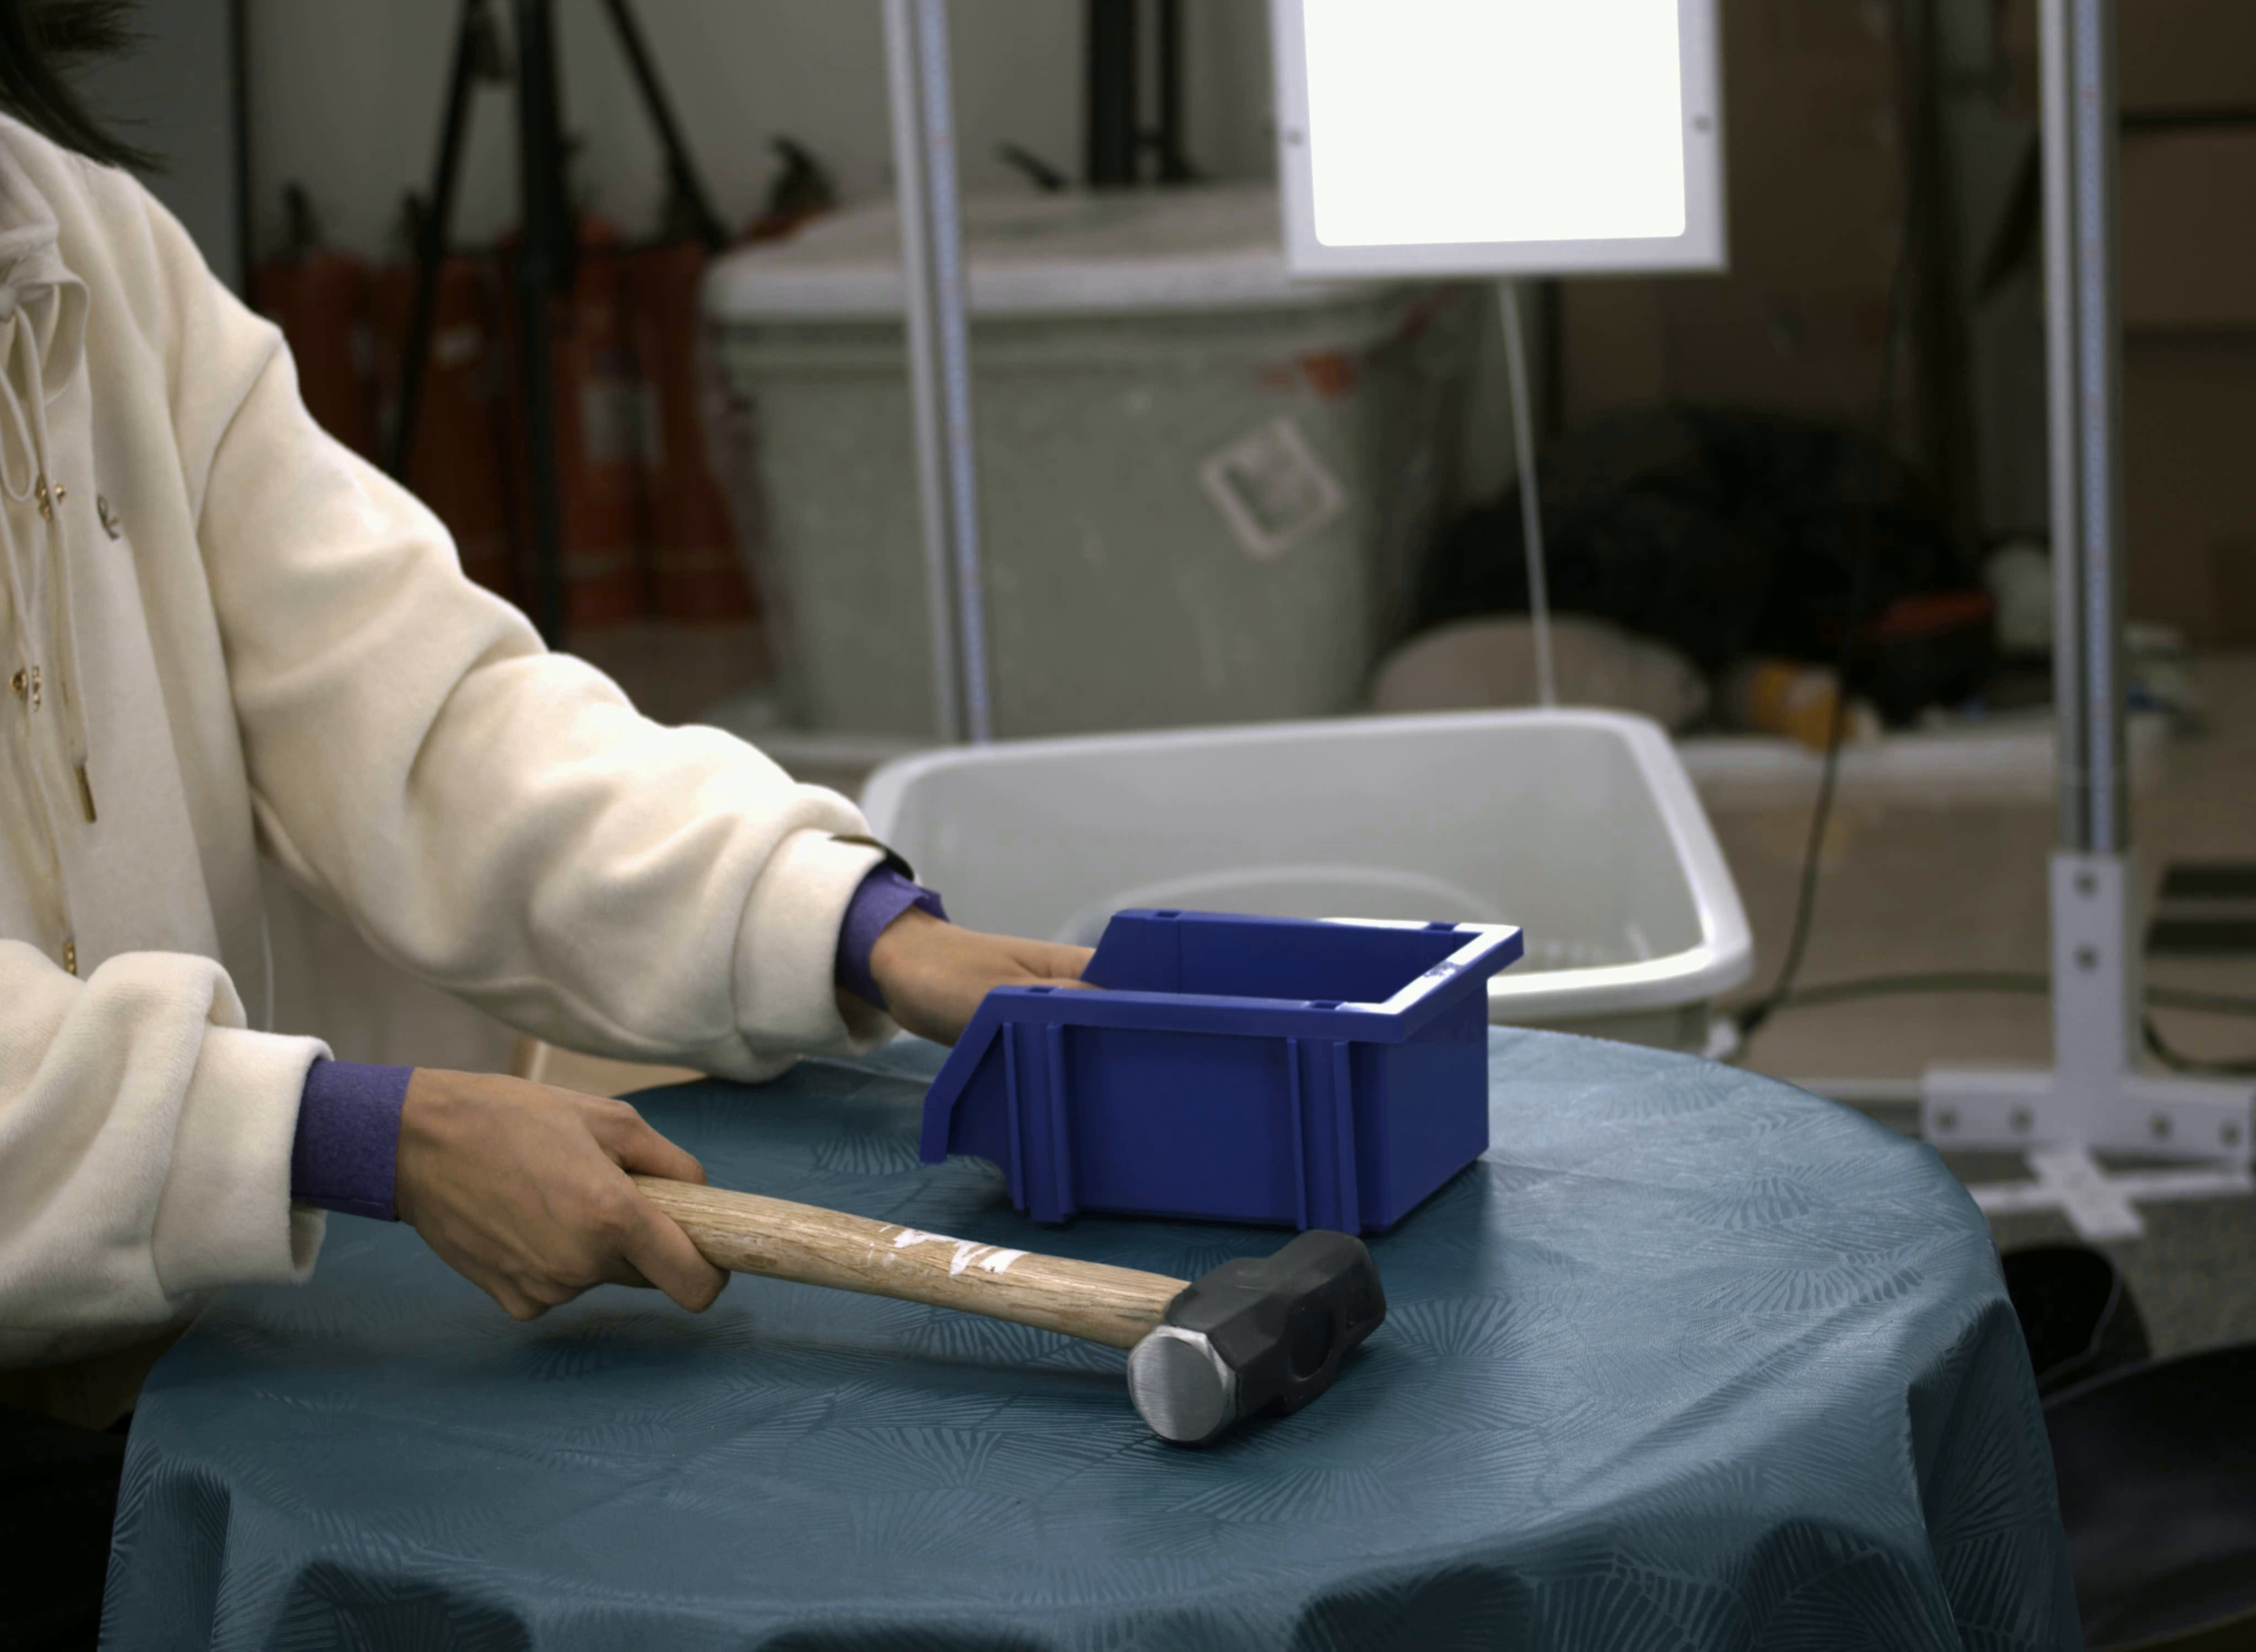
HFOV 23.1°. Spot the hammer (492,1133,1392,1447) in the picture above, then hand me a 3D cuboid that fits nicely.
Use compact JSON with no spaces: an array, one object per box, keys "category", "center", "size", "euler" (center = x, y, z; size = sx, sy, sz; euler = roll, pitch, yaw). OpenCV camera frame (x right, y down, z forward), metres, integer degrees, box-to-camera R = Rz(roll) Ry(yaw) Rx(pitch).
[{"category":"hammer","center":[-0.073,0.137,1.752],"size":[0.311,0.038,0.105],"euler":[9,19,32]}]

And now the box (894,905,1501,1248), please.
[{"category":"box","center":[0.024,0.084,1.888],"size":[0.182,0.082,0.122],"euler":[5,16,26]}]
